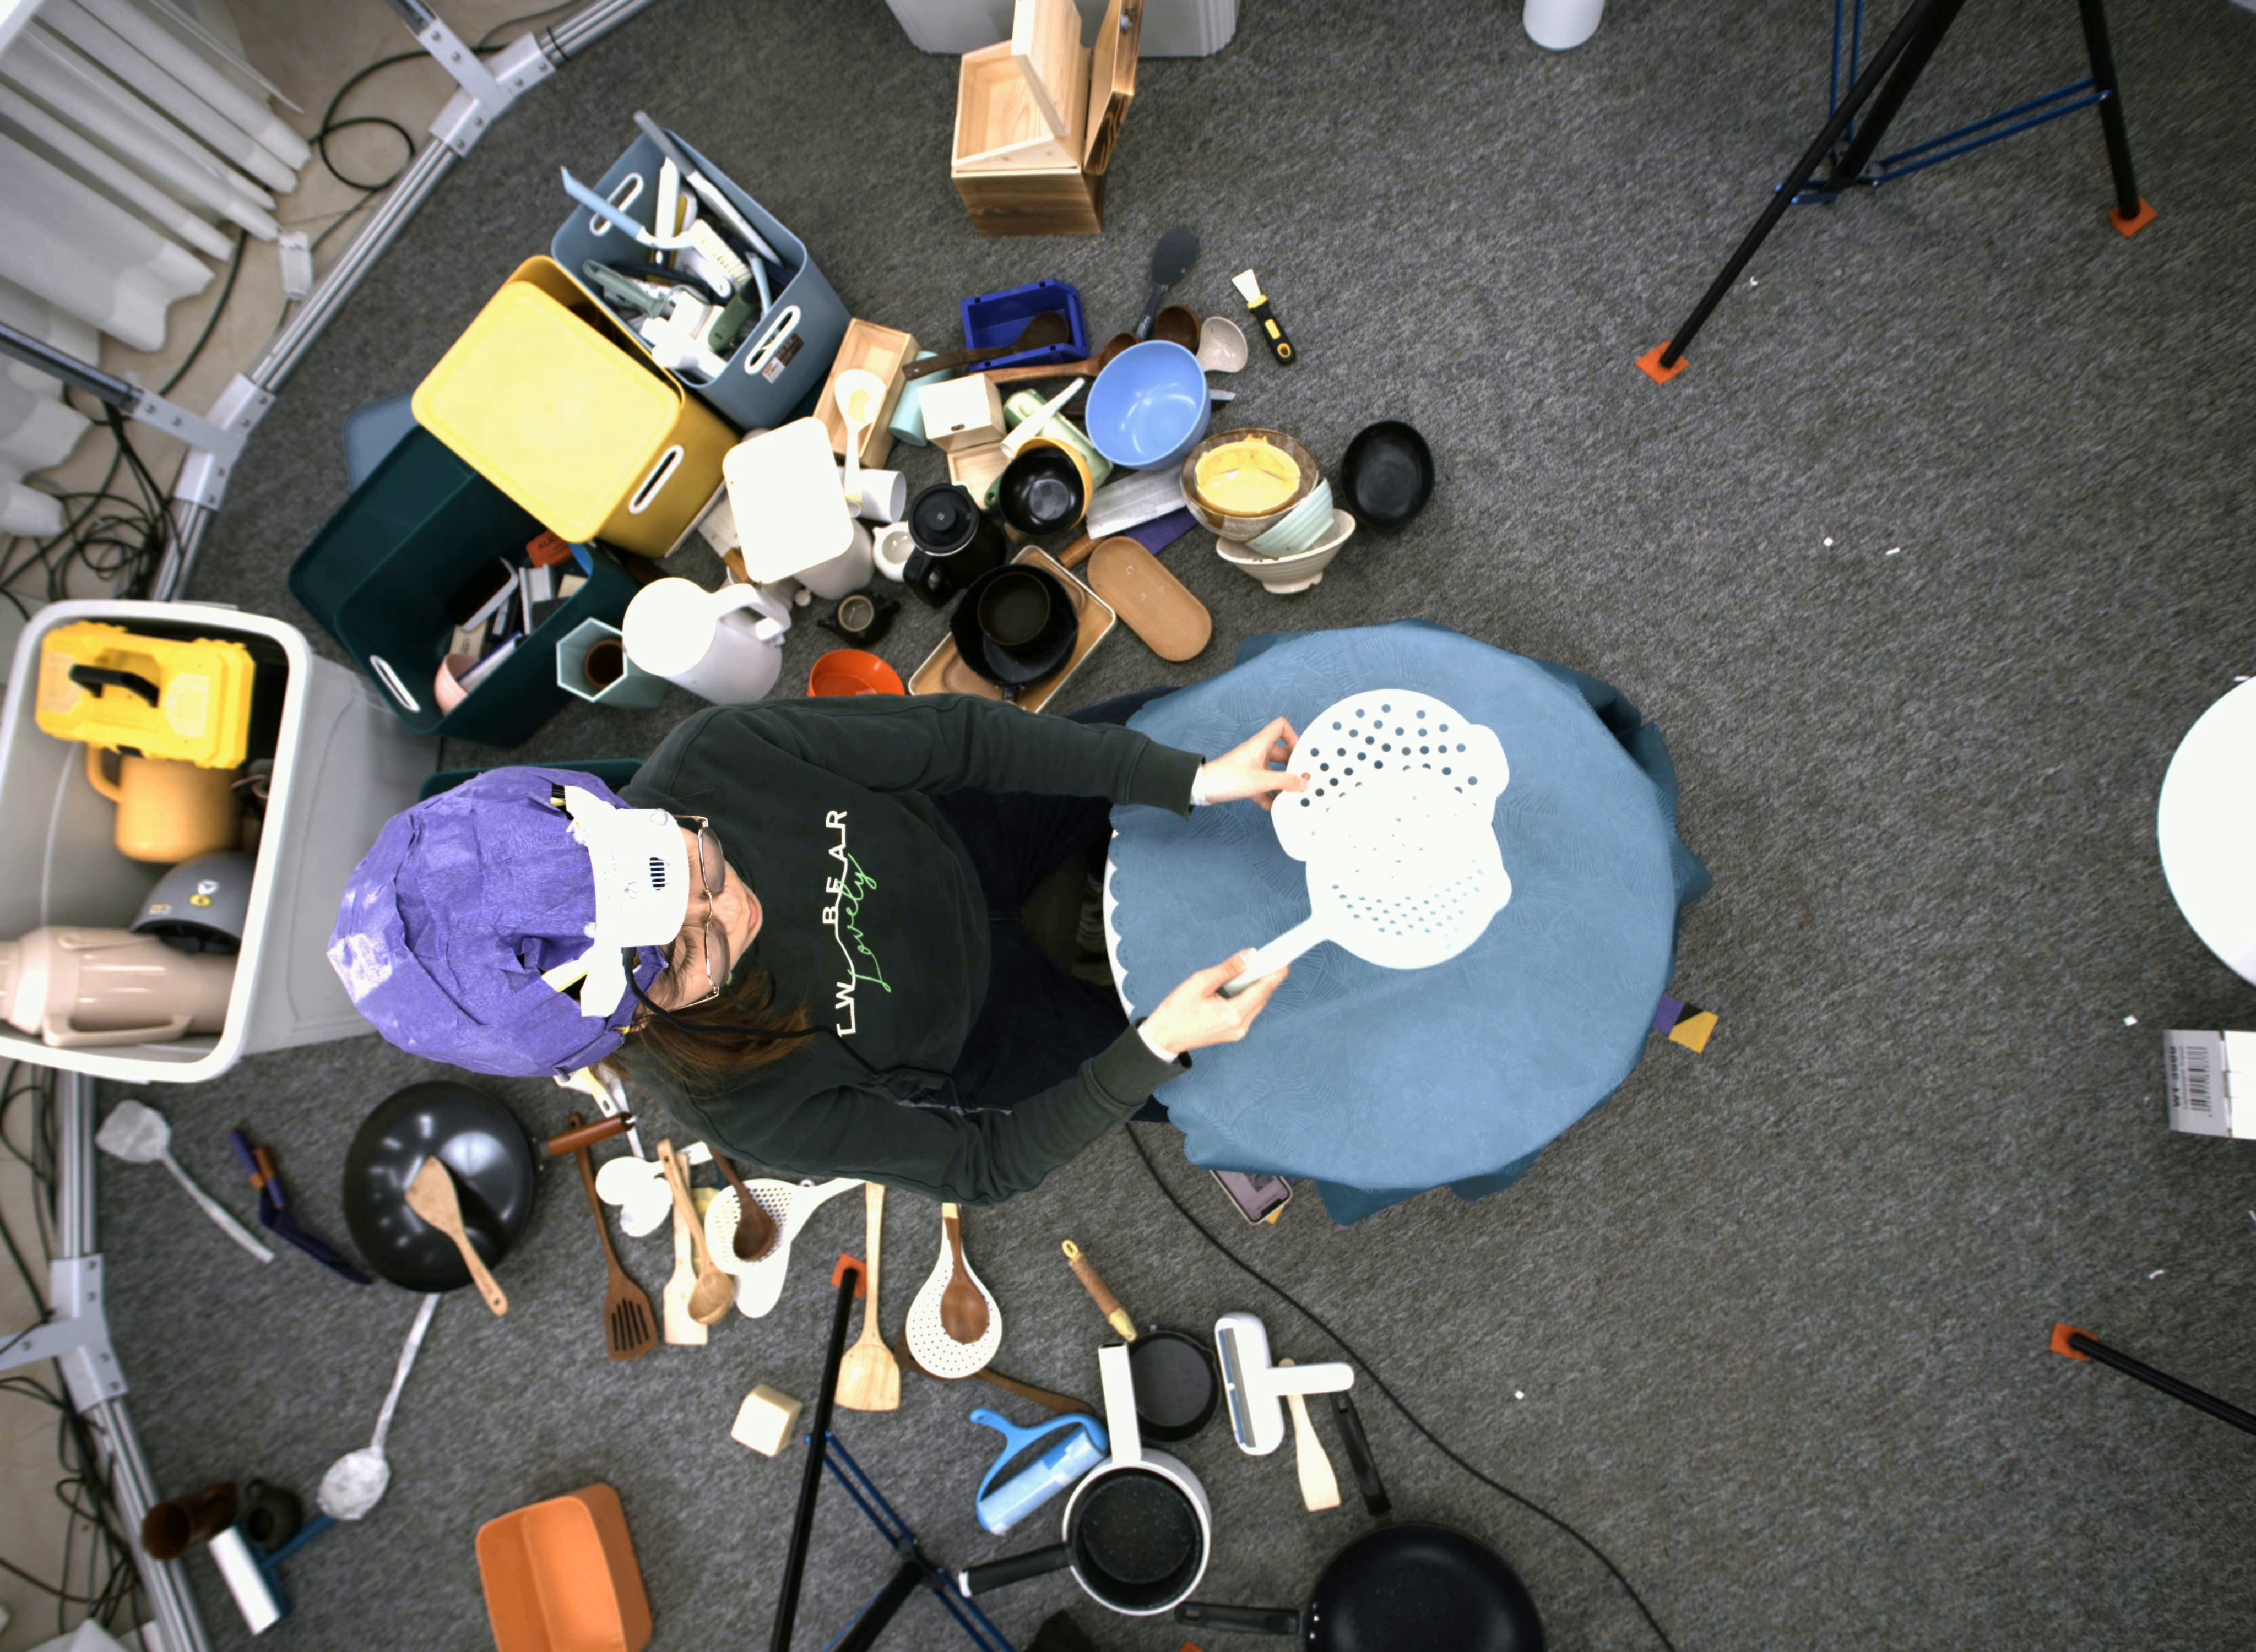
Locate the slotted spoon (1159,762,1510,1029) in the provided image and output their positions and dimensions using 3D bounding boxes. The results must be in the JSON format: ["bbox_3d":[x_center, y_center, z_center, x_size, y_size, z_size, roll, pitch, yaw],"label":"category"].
[{"bbox_3d":[0.171,0.088,1.266,0.362,0.075,0.169,-36,88,11],"label":"slotted spoon"}]

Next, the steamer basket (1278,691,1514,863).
[{"bbox_3d":[0.264,-0.032,1.362,0.232,0.069,0.202,-21,90,12],"label":"steamer basket"}]
